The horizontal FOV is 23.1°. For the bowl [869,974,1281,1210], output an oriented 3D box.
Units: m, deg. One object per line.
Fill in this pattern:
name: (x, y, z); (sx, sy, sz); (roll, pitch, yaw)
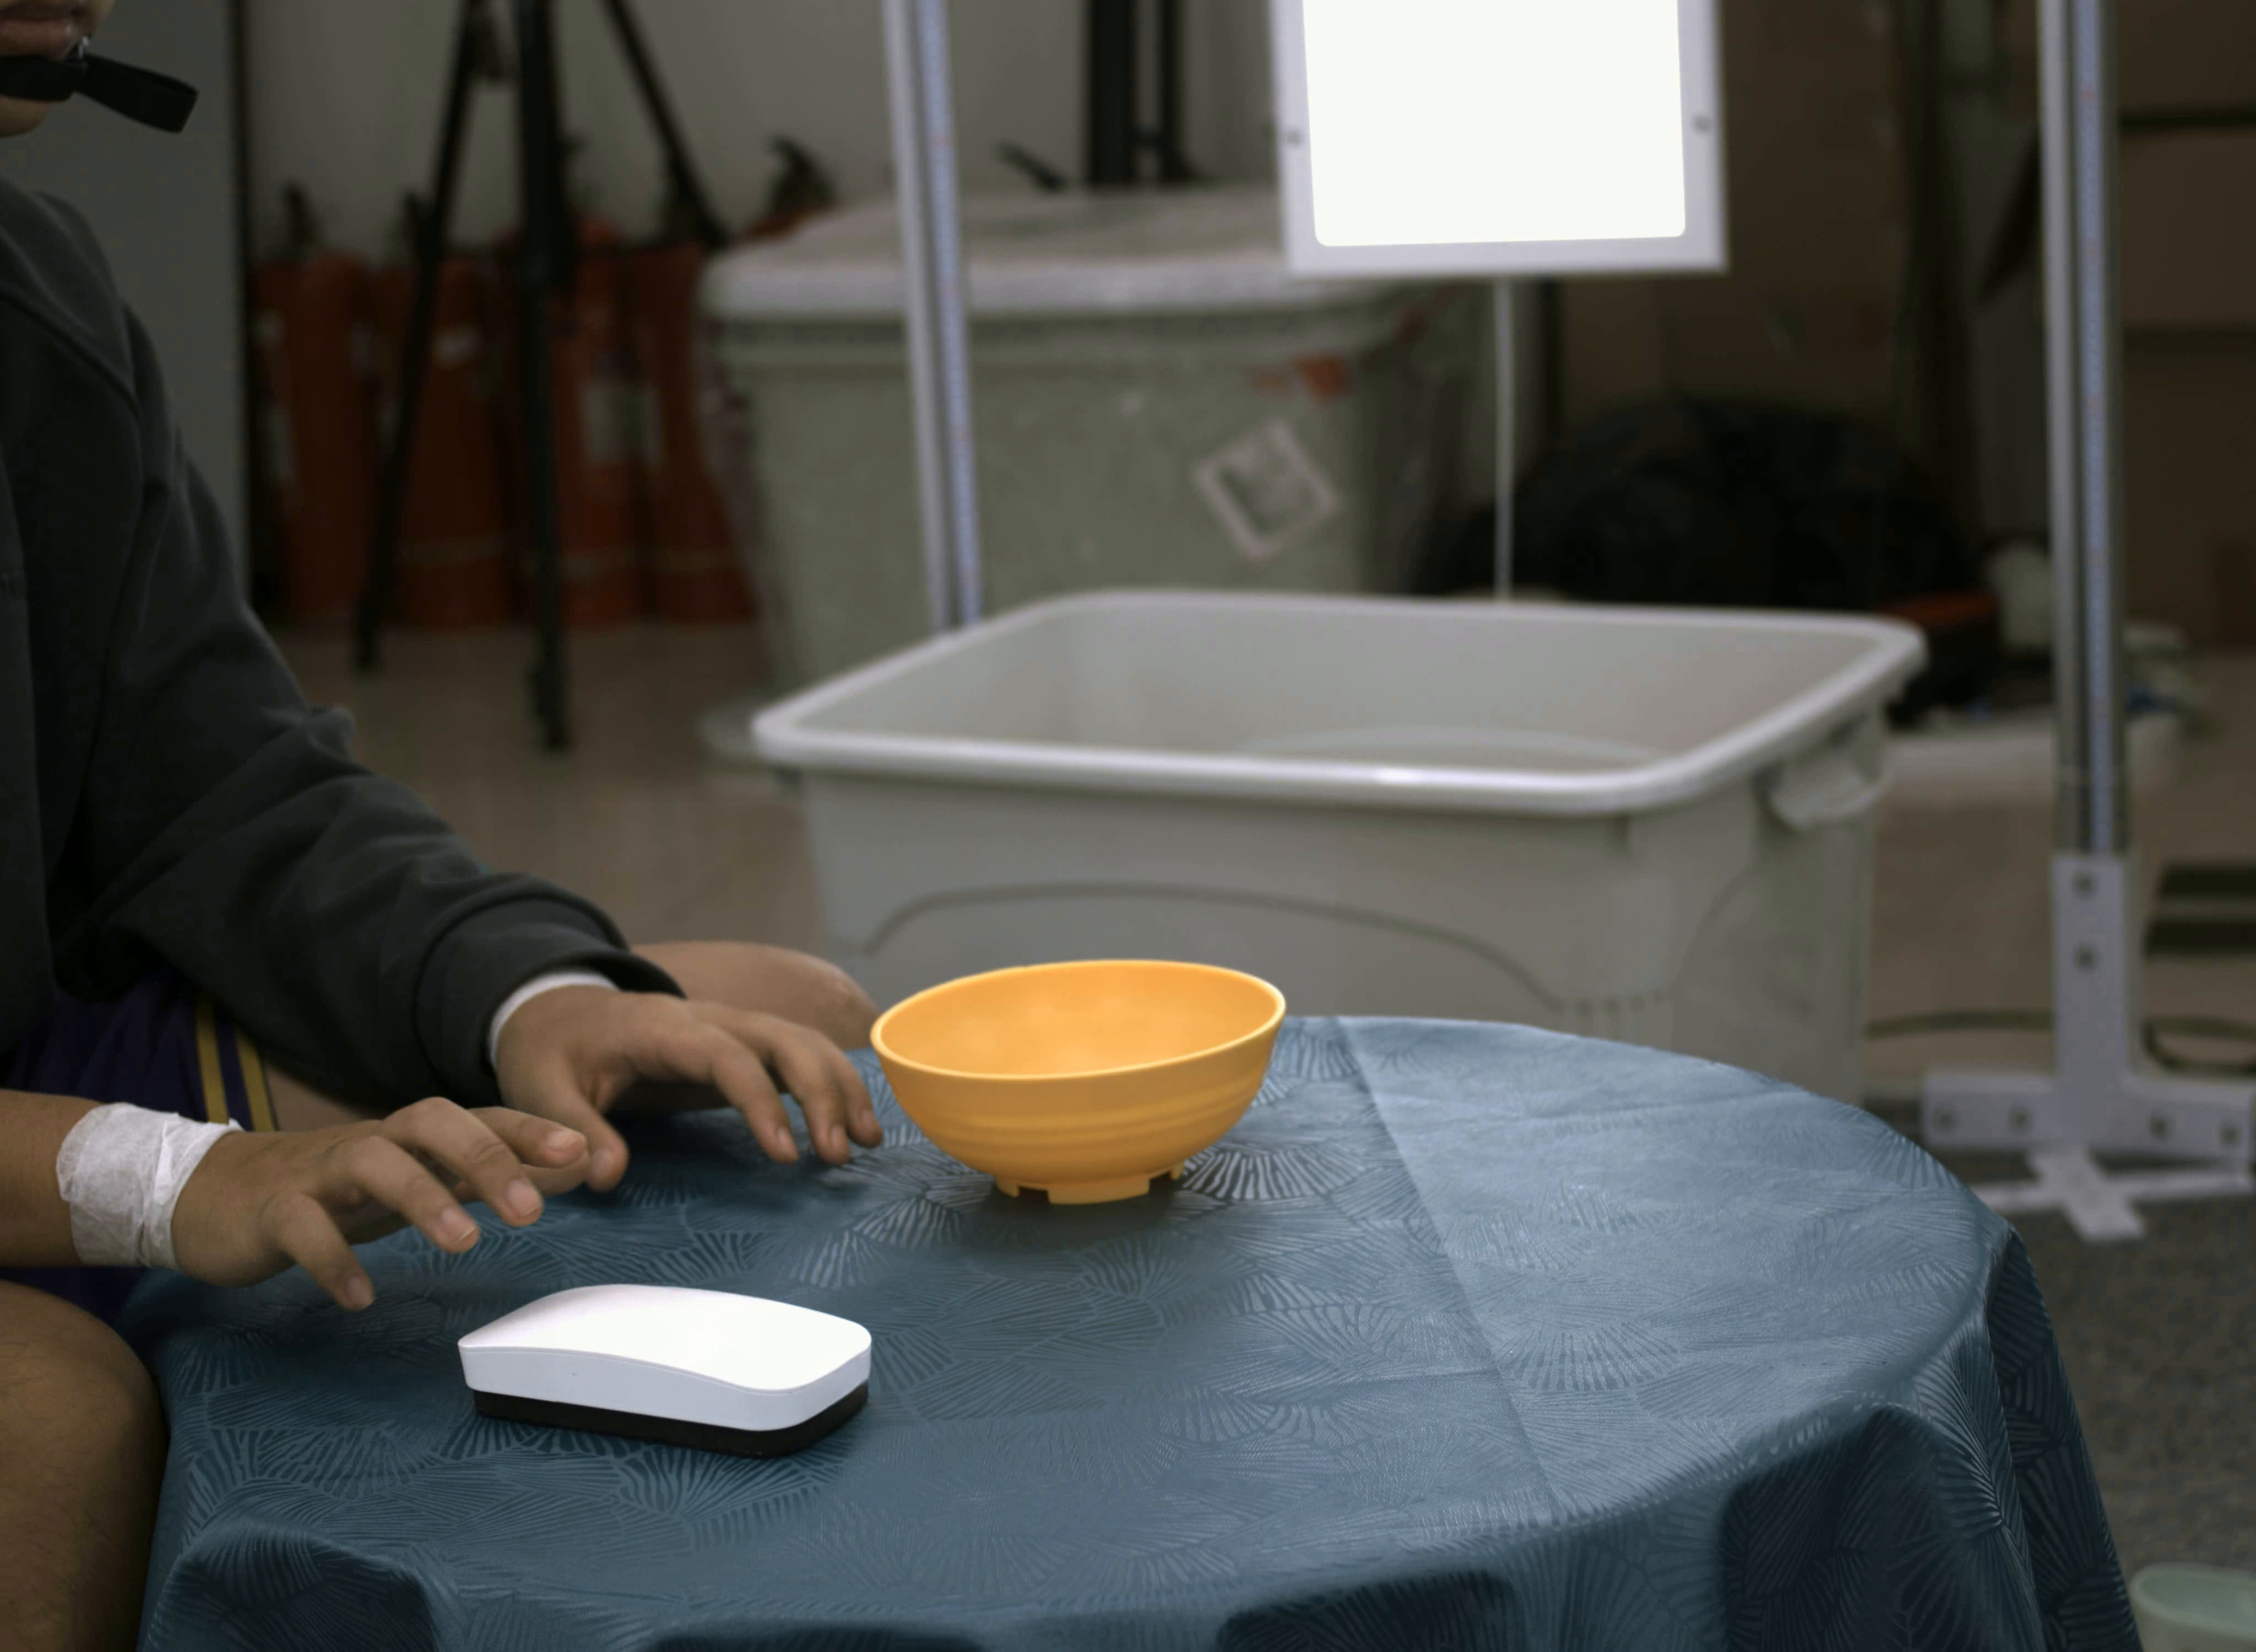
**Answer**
bowl: (-0.016, 0.096, 1.912); (0.145, 0.060, 0.145); (-6, 12, 0)

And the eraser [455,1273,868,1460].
eraser: (-0.144, 0.167, 1.719); (0.134, 0.034, 0.062); (6, 17, 34)
